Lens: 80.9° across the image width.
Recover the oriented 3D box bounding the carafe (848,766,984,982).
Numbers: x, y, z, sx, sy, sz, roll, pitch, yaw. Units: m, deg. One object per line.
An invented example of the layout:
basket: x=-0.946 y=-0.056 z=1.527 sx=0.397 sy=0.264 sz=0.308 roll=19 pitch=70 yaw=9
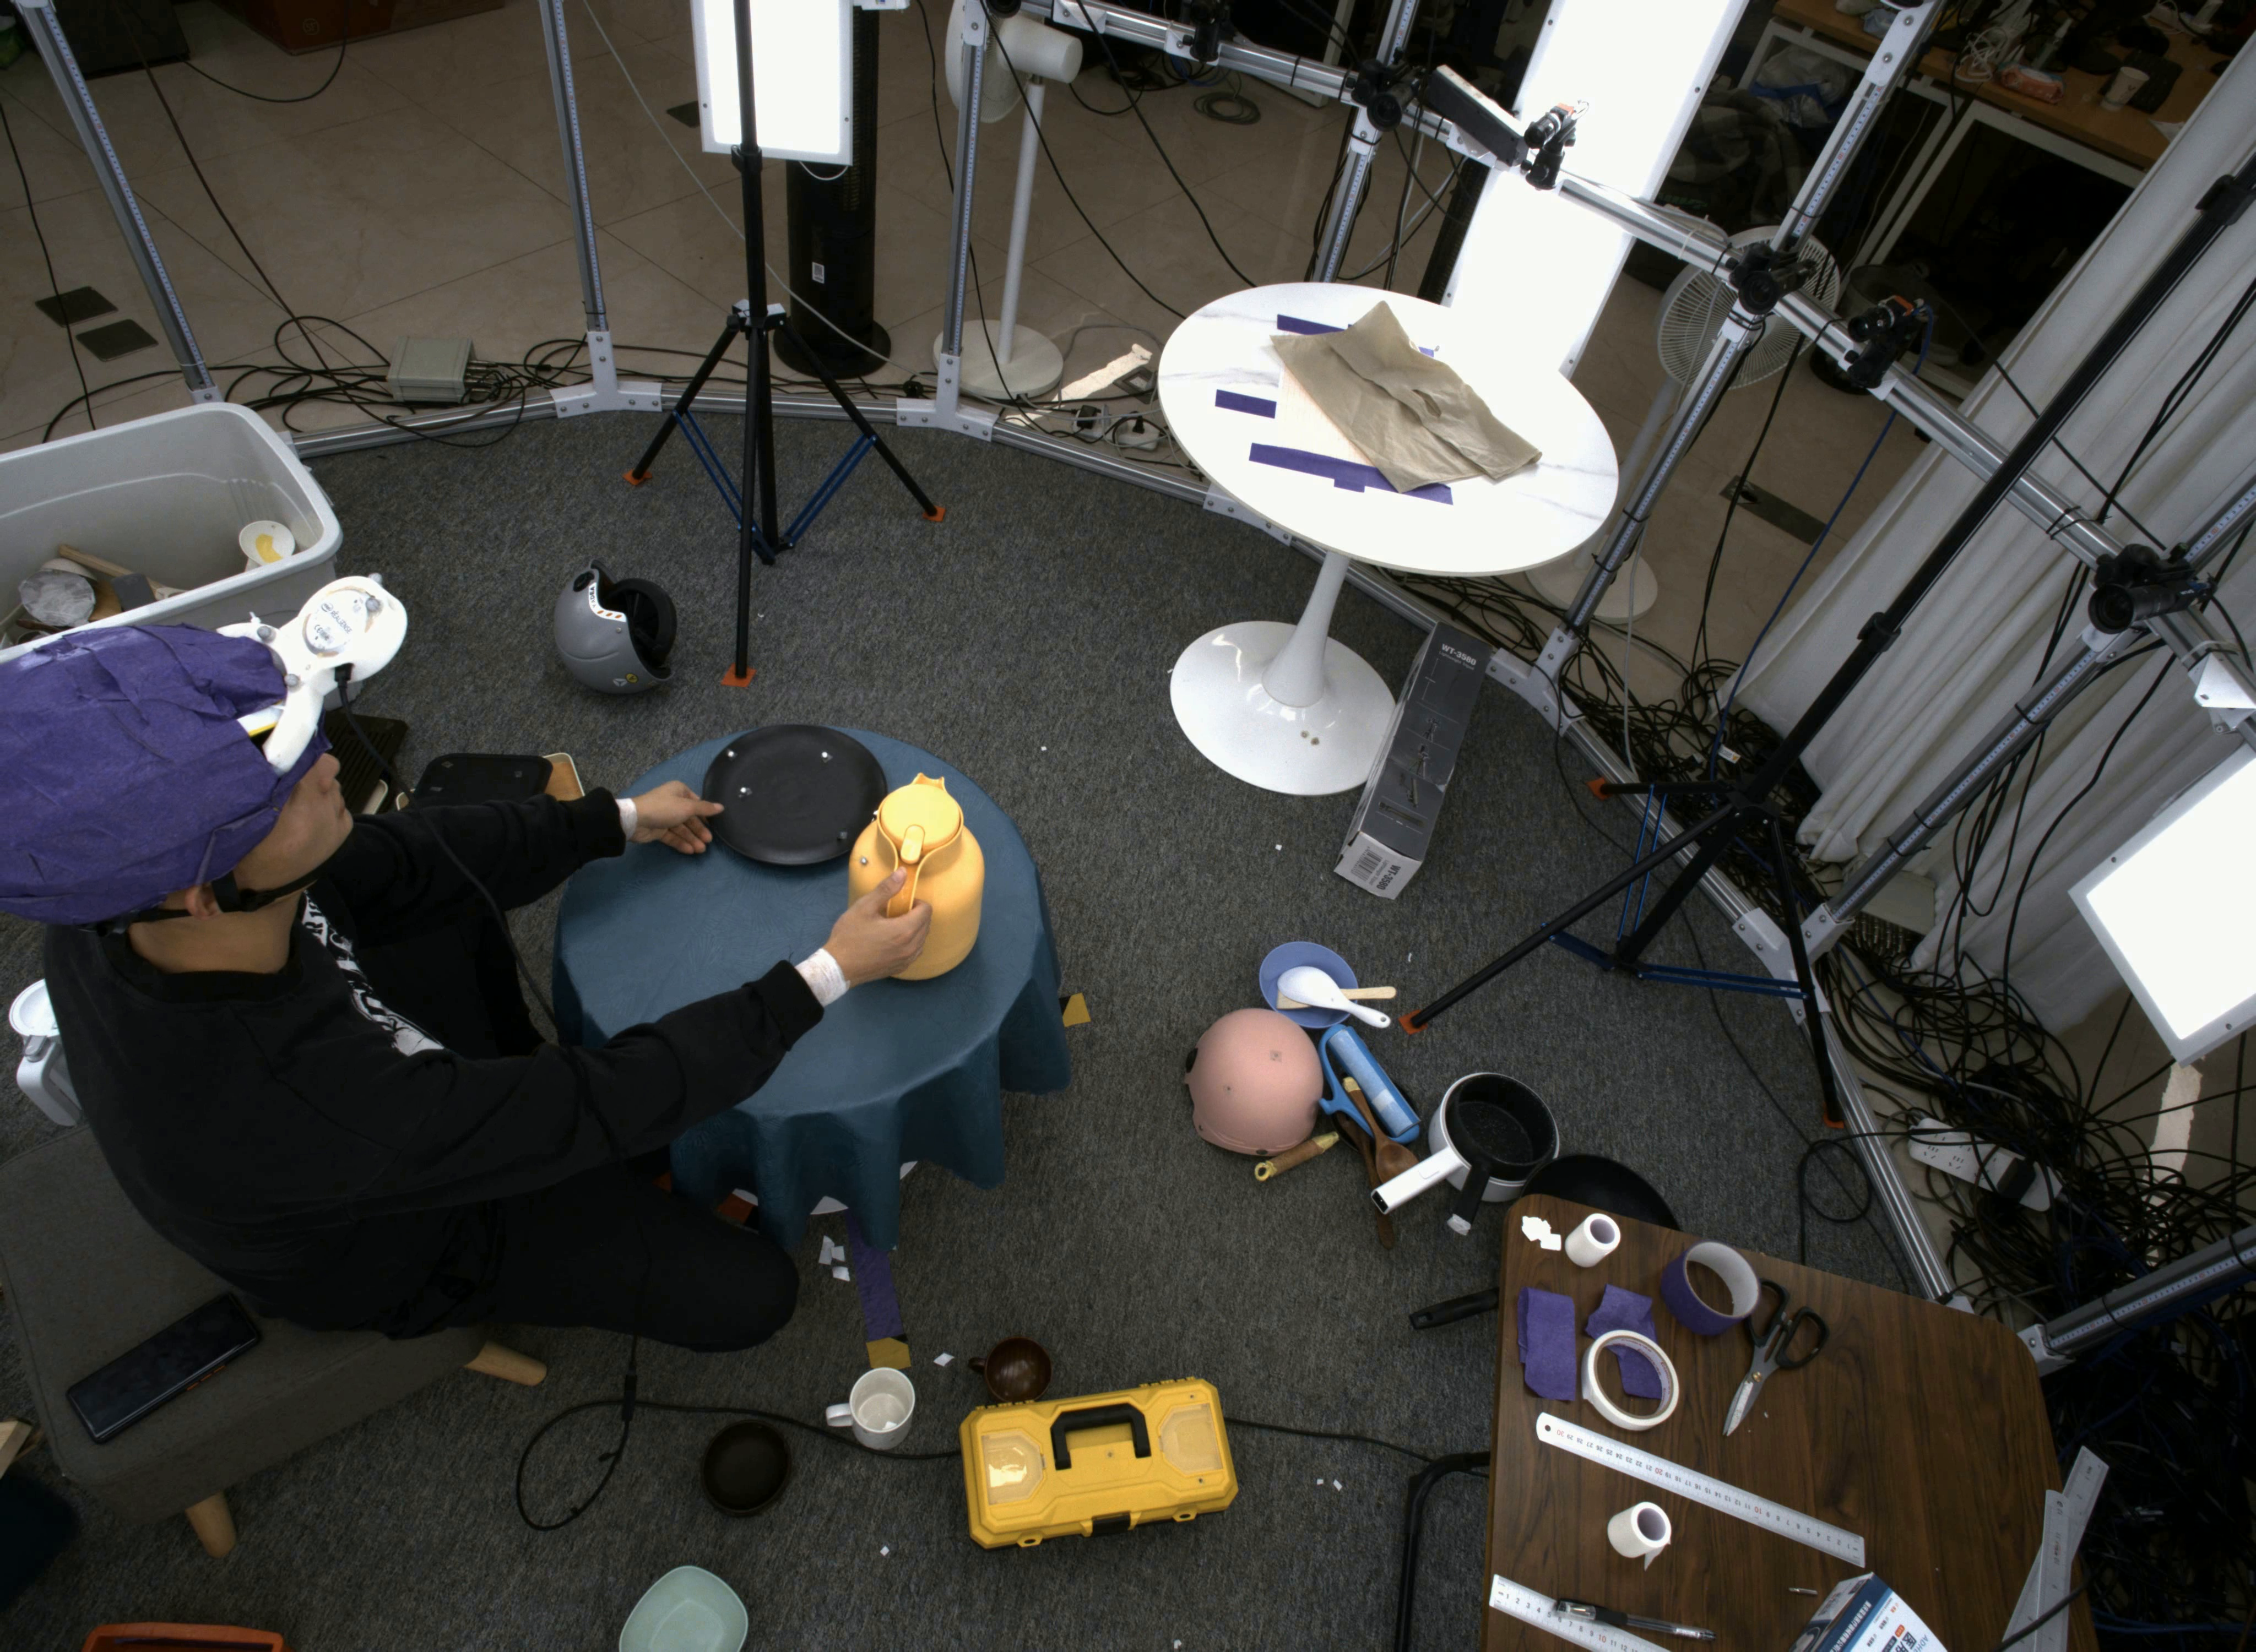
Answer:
carafe: x=-0.257 y=0.071 z=1.542 sx=0.162 sy=0.267 sz=0.199 roll=10 pitch=49 yaw=-1

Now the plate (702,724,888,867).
plate: x=-0.444 y=-0.041 z=1.731 sx=0.244 sy=0.024 sz=0.240 roll=8 pitch=52 yaw=-9
